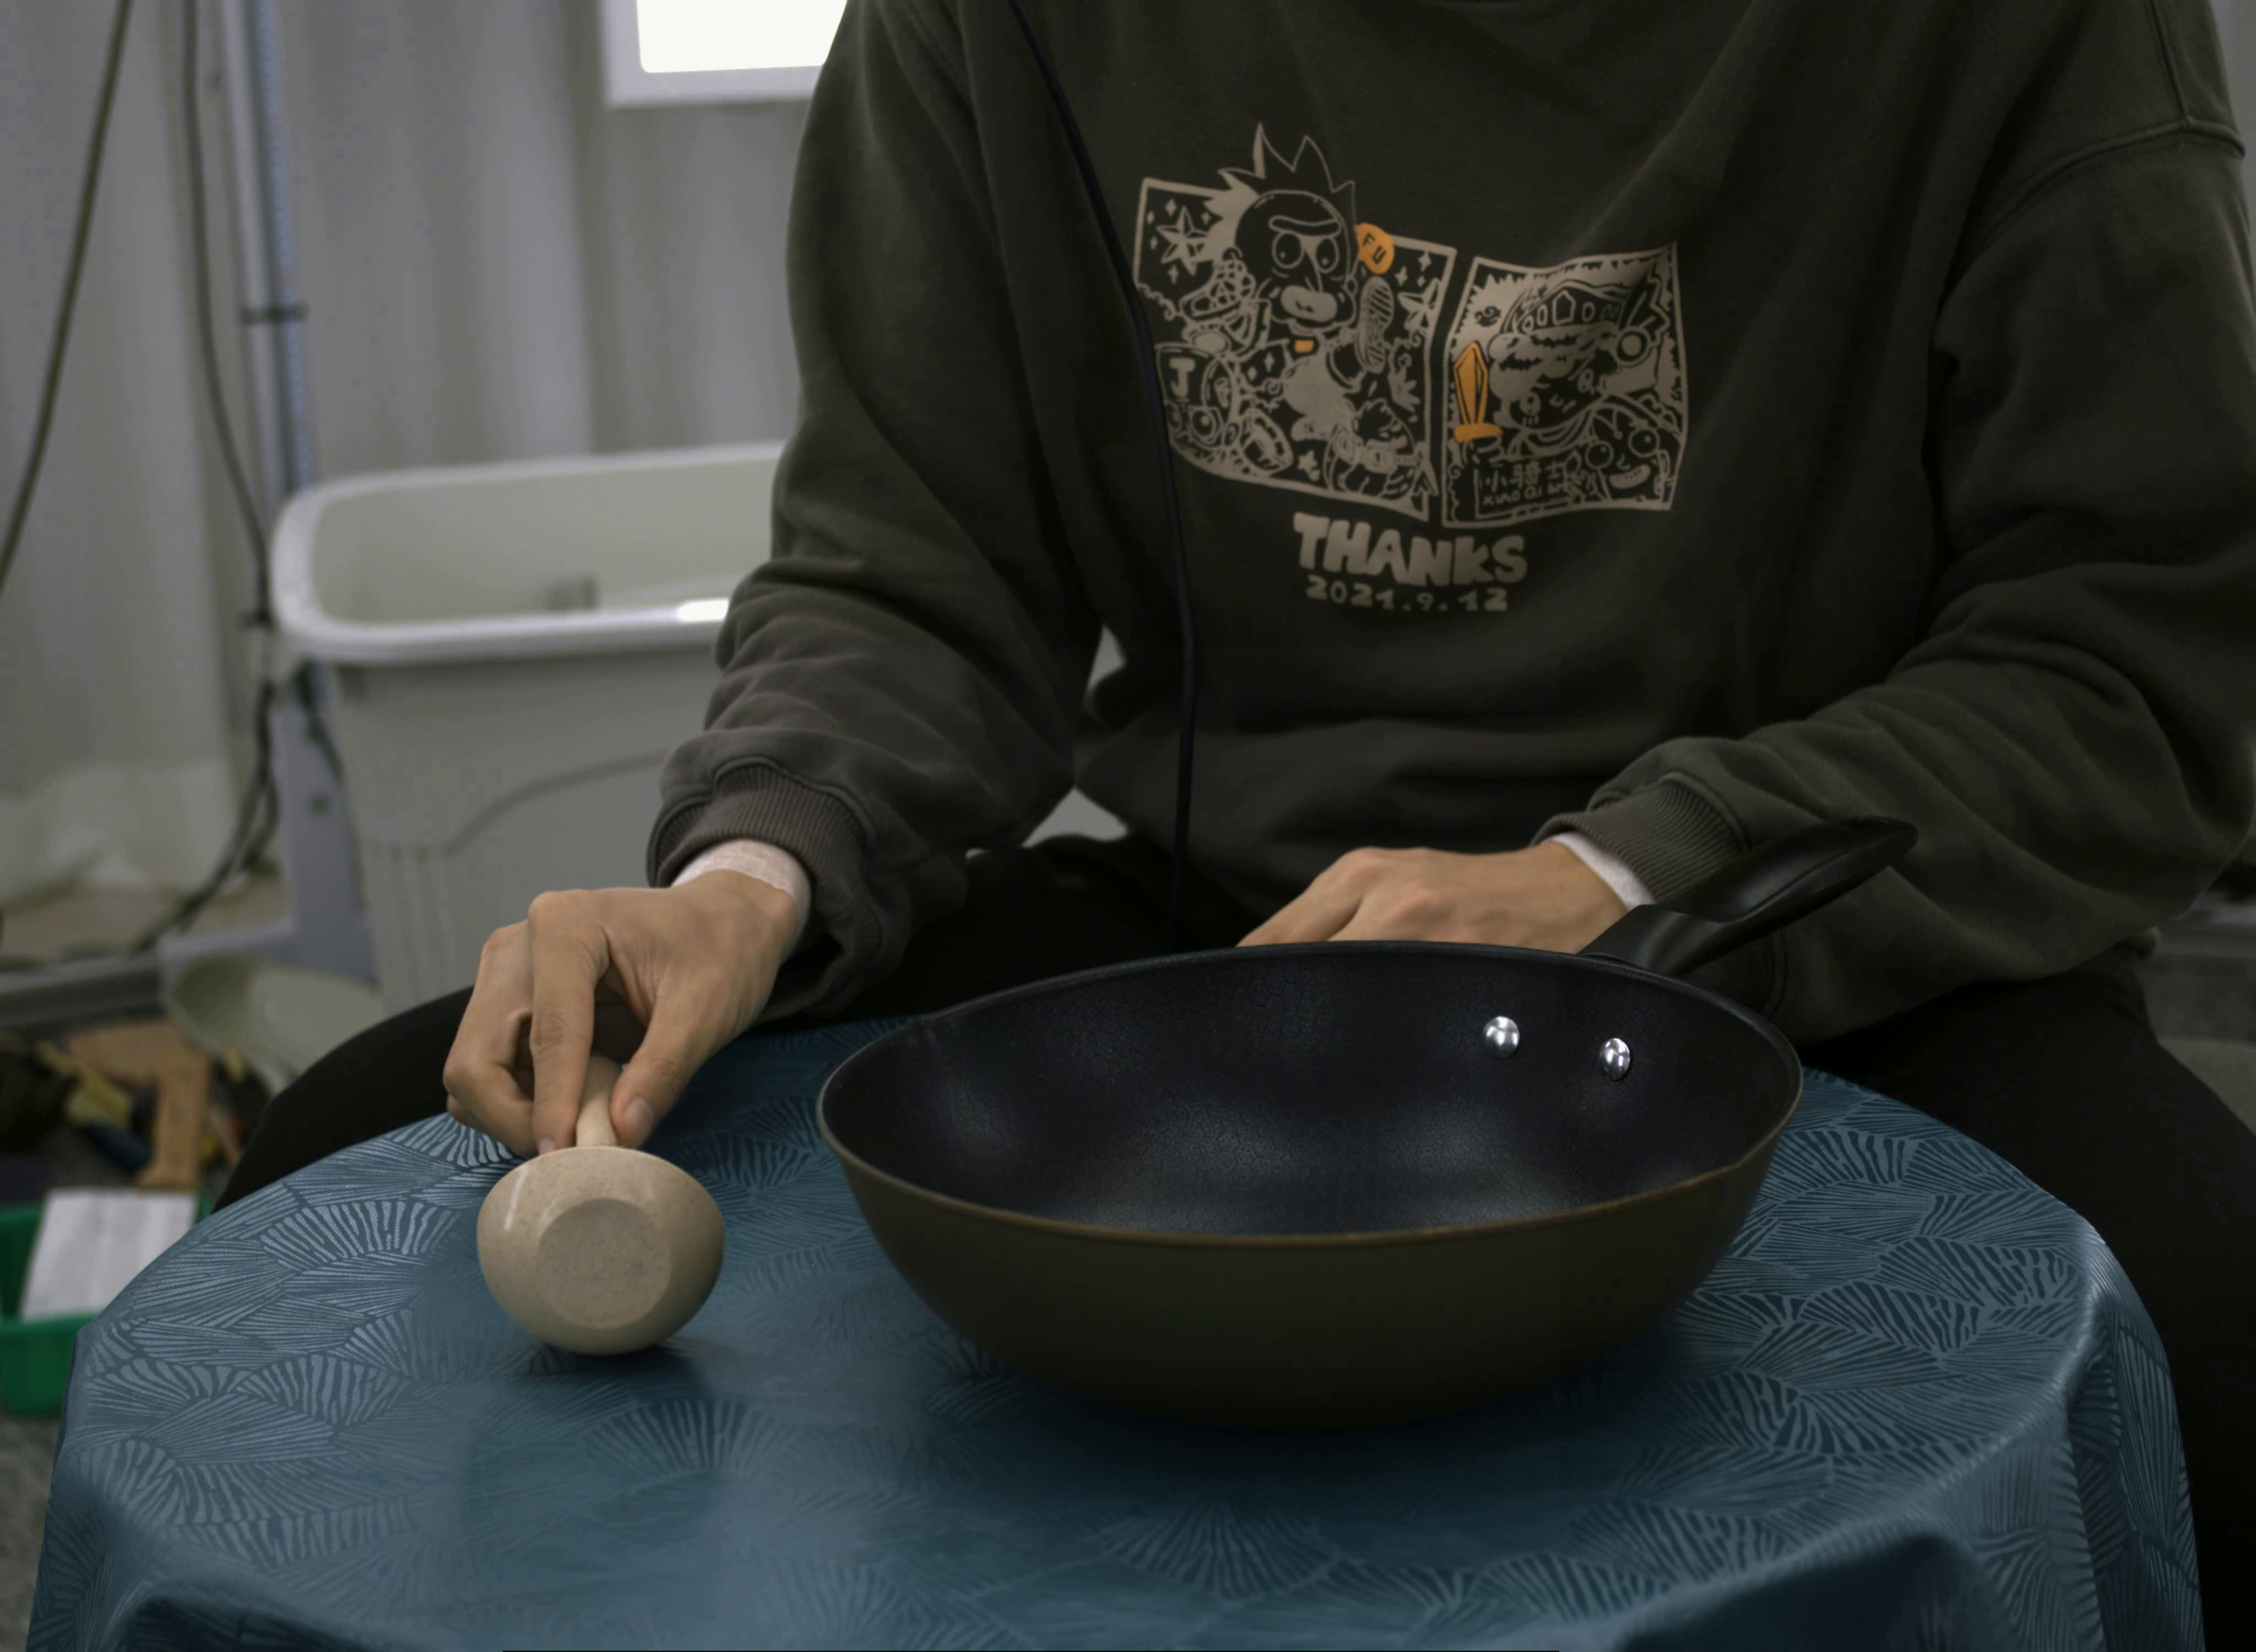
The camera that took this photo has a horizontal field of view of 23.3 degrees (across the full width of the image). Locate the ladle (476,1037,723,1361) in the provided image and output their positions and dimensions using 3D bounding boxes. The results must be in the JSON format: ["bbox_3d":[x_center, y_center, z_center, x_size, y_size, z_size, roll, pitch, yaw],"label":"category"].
[{"bbox_3d":[-0.165,0.086,1.686,0.072,0.072,0.257,4,21,-9],"label":"ladle"}]

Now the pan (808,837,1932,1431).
[{"bbox_3d":[0.107,0.089,1.640,0.289,0.086,0.463,9,18,38],"label":"pan"}]
